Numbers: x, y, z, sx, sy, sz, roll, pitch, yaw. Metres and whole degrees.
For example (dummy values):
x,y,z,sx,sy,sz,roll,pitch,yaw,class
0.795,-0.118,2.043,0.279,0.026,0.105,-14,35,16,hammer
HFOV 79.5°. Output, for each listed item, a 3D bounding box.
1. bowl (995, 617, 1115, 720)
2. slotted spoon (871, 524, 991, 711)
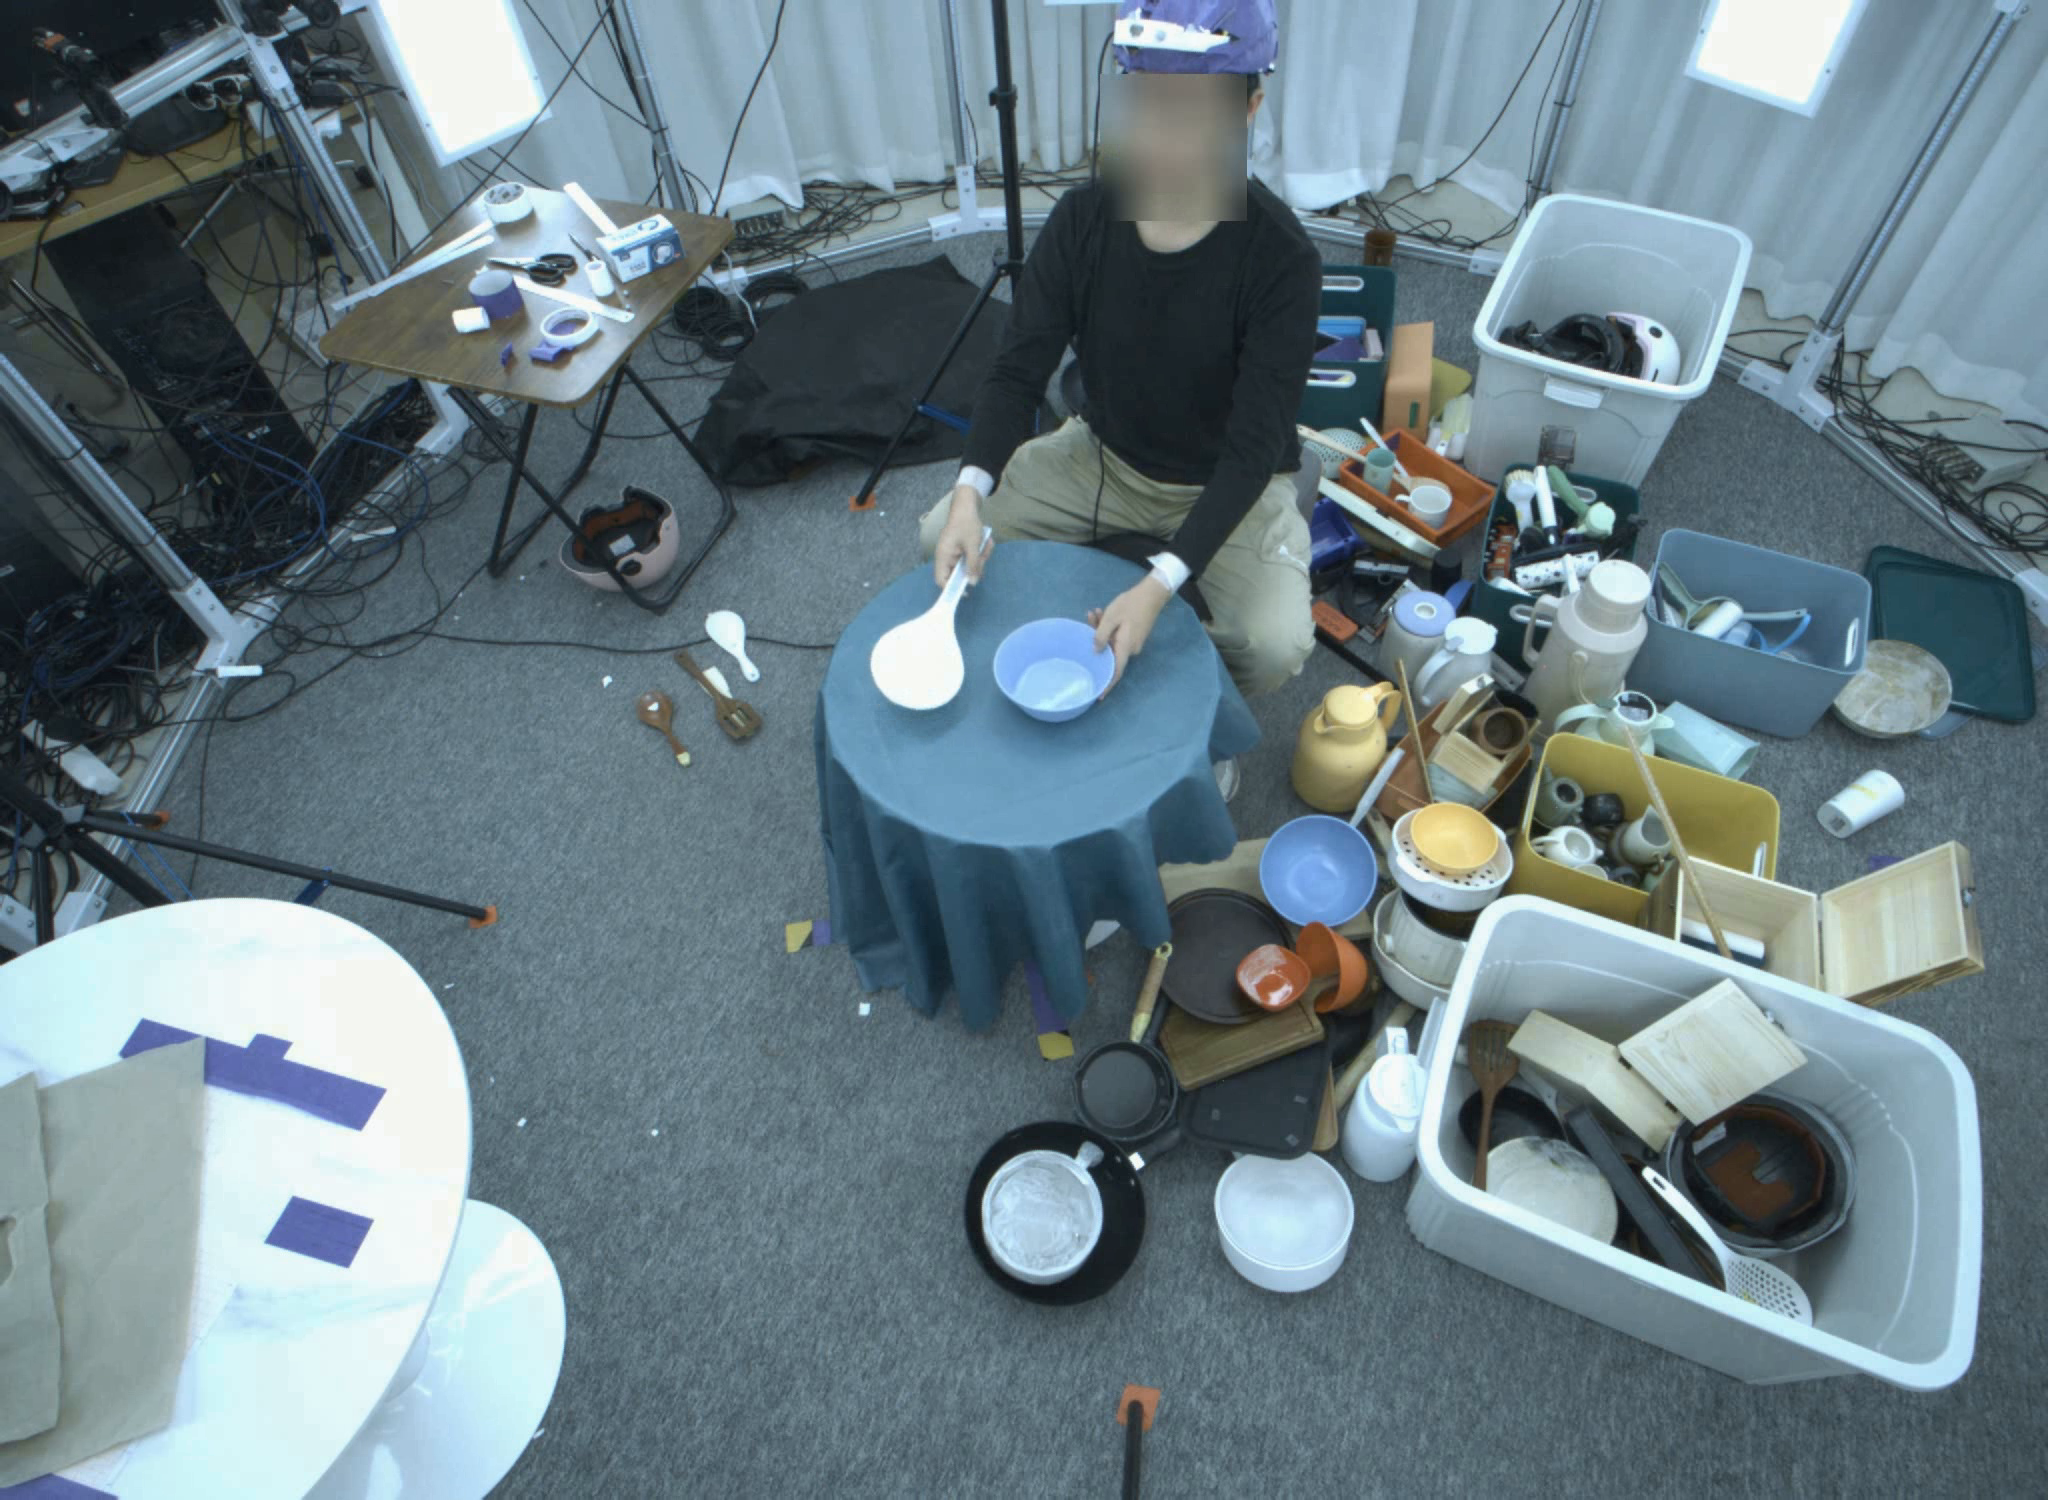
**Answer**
x,y,z,sx,sy,sz,roll,pitch,yaw,class
0.046,-0.109,1.820,0.176,0.071,0.174,0,54,1,bowl
-0.124,-0.206,1.857,0.136,0.045,0.349,23,69,-3,slotted spoon
